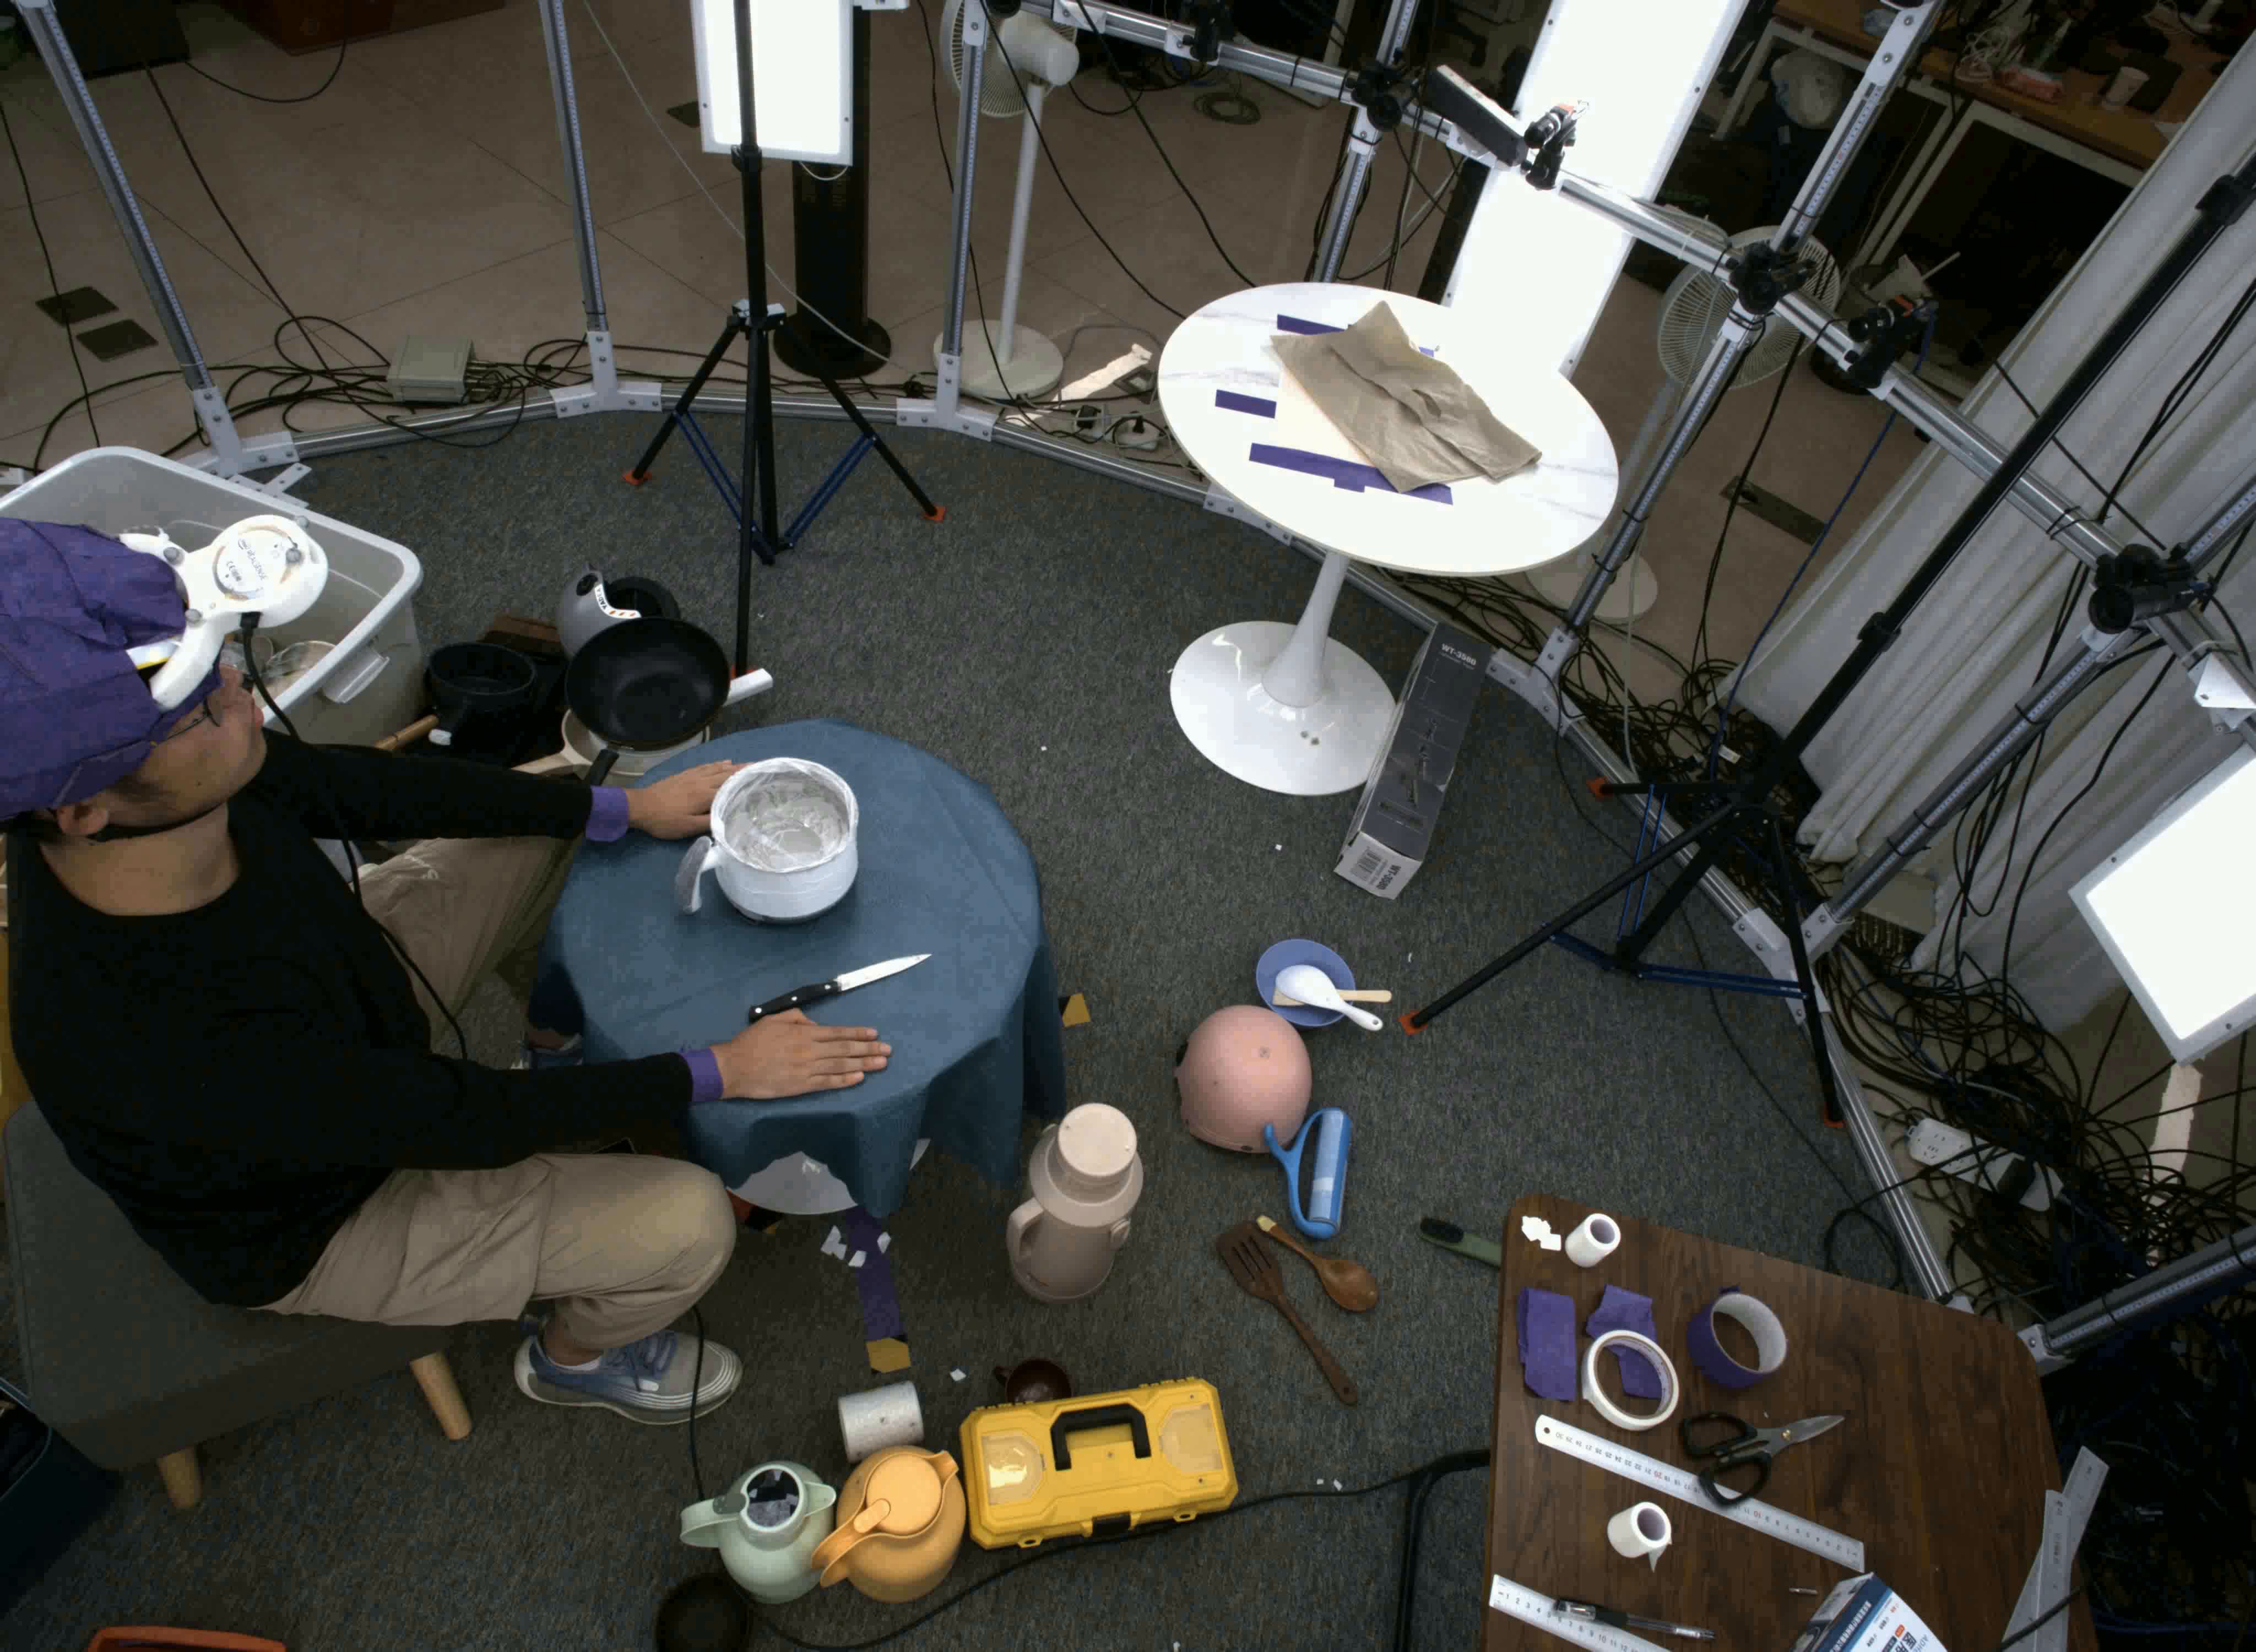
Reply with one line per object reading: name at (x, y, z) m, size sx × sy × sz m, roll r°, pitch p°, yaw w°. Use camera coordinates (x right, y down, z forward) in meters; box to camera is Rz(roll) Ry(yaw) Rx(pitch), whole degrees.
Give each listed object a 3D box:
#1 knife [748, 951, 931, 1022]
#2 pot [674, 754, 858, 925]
knife at (-0.348, 0.192, 1.590) m, size 0.240 × 0.016 × 0.024 m, roll -18°, pitch 58°, yaw -29°
pot at (-0.449, 0.029, 1.601) m, size 0.235 × 0.139 × 0.174 m, roll -23°, pitch 61°, yaw -29°
